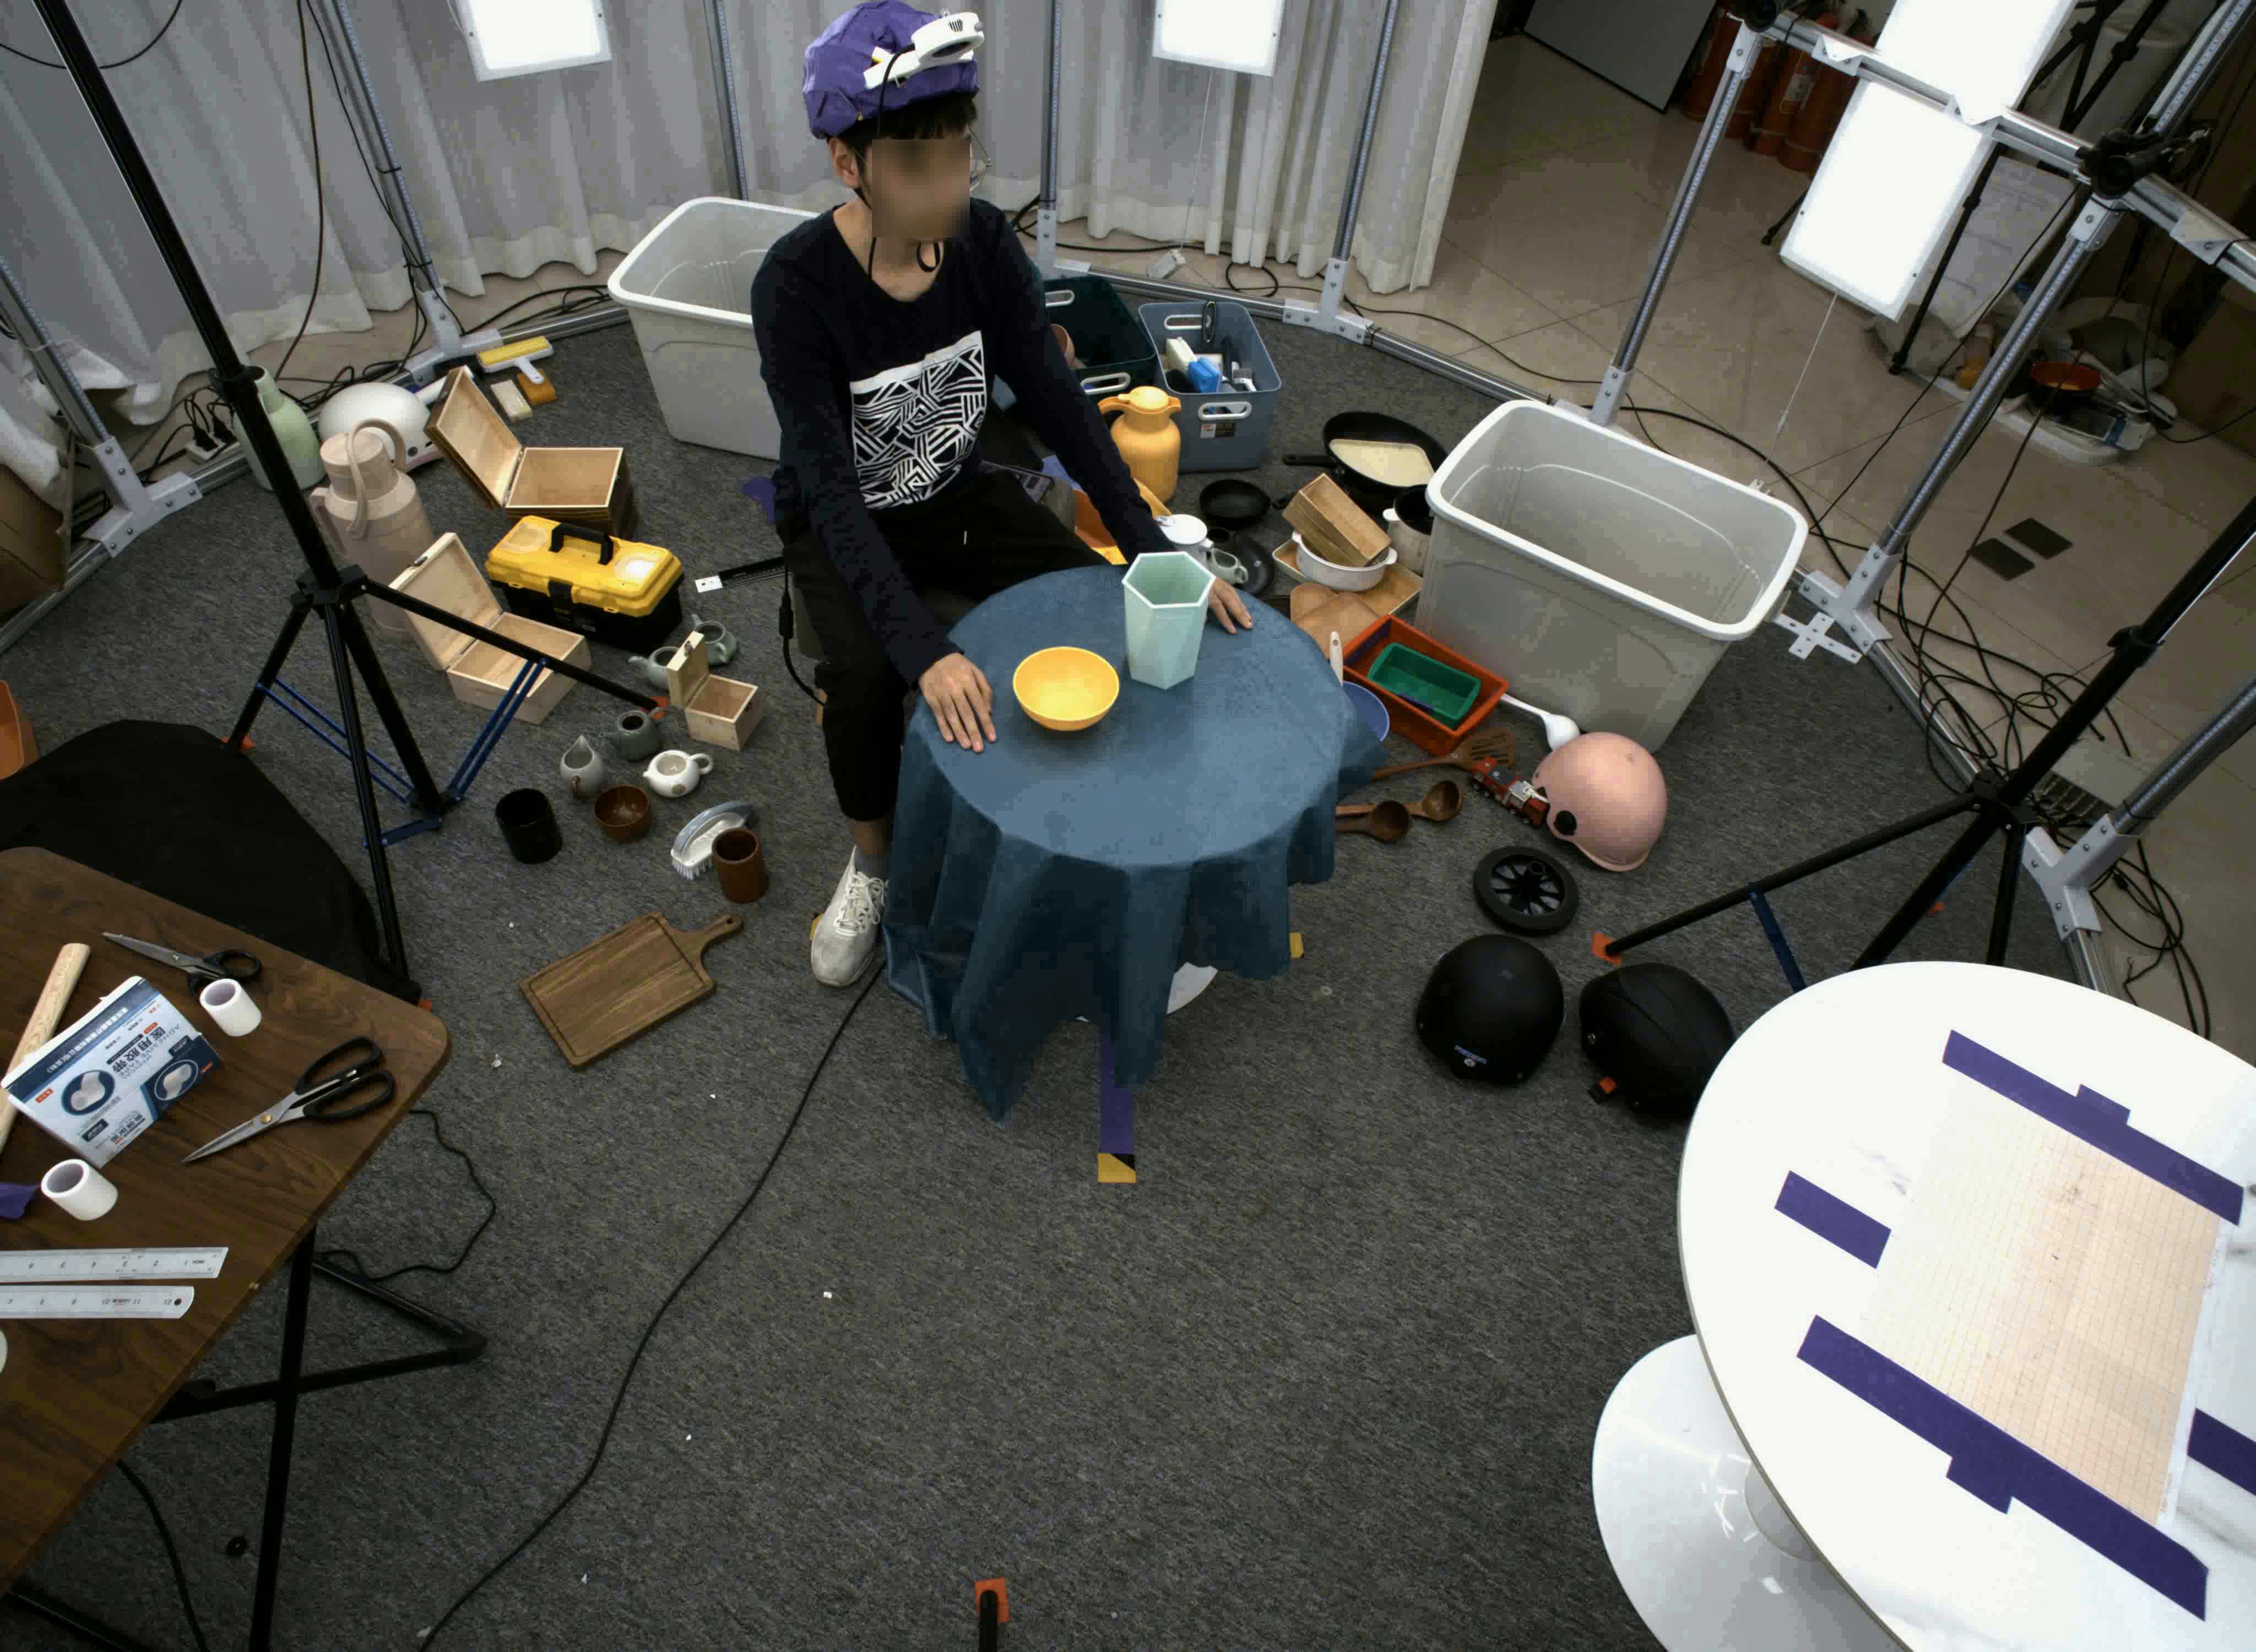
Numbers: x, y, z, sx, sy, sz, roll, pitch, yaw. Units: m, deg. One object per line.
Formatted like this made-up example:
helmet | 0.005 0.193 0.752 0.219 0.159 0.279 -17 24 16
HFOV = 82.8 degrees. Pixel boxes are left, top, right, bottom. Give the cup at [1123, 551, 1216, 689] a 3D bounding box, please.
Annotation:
cup | 0.053 -0.287 1.816 0.131 0.159 0.118 -5 48 -9

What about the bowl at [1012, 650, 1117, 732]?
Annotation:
bowl | -0.088 -0.175 1.780 0.145 0.058 0.149 2 46 -2
